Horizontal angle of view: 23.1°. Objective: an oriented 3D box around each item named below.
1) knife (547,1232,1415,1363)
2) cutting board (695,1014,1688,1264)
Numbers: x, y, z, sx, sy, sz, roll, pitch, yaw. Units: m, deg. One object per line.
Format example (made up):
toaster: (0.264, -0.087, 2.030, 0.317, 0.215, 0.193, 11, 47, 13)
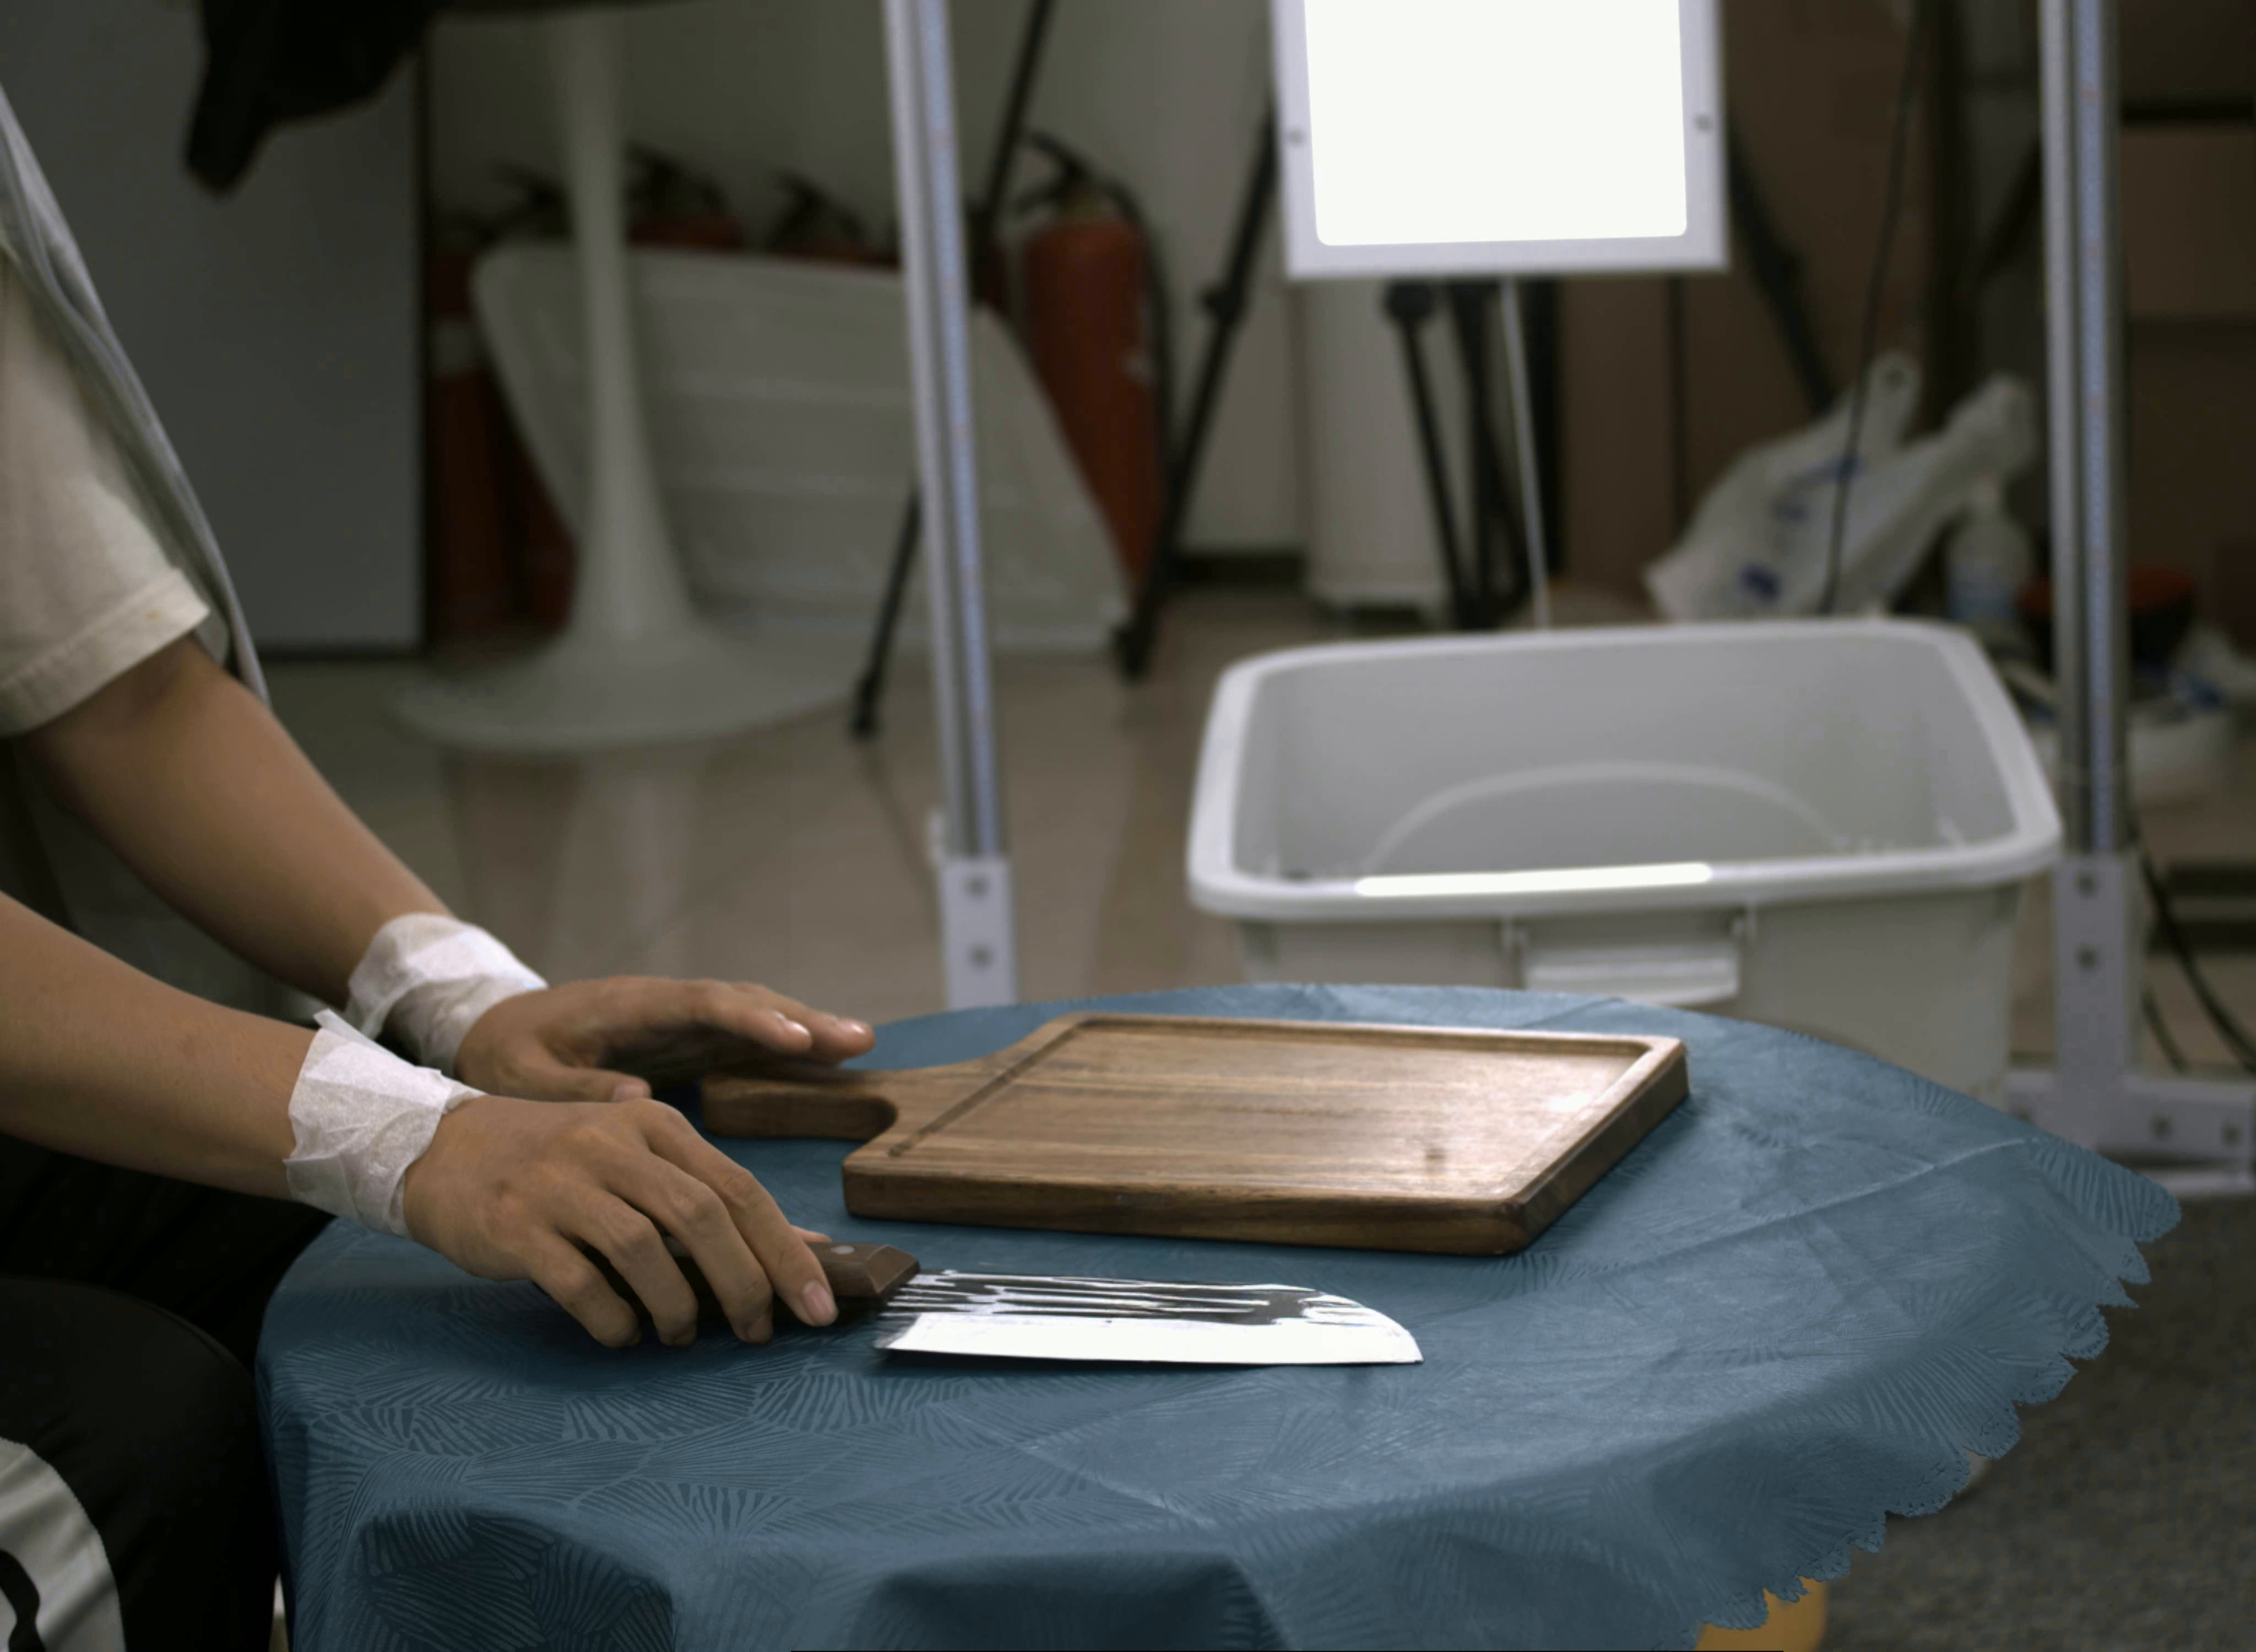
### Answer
knife: (-0.052, 0.154, 1.761, 0.302, 0.024, 0.067, 2, 17, 16)
cutting board: (0.006, 0.106, 1.947, 0.358, 0.023, 0.197, 0, 16, 25)
